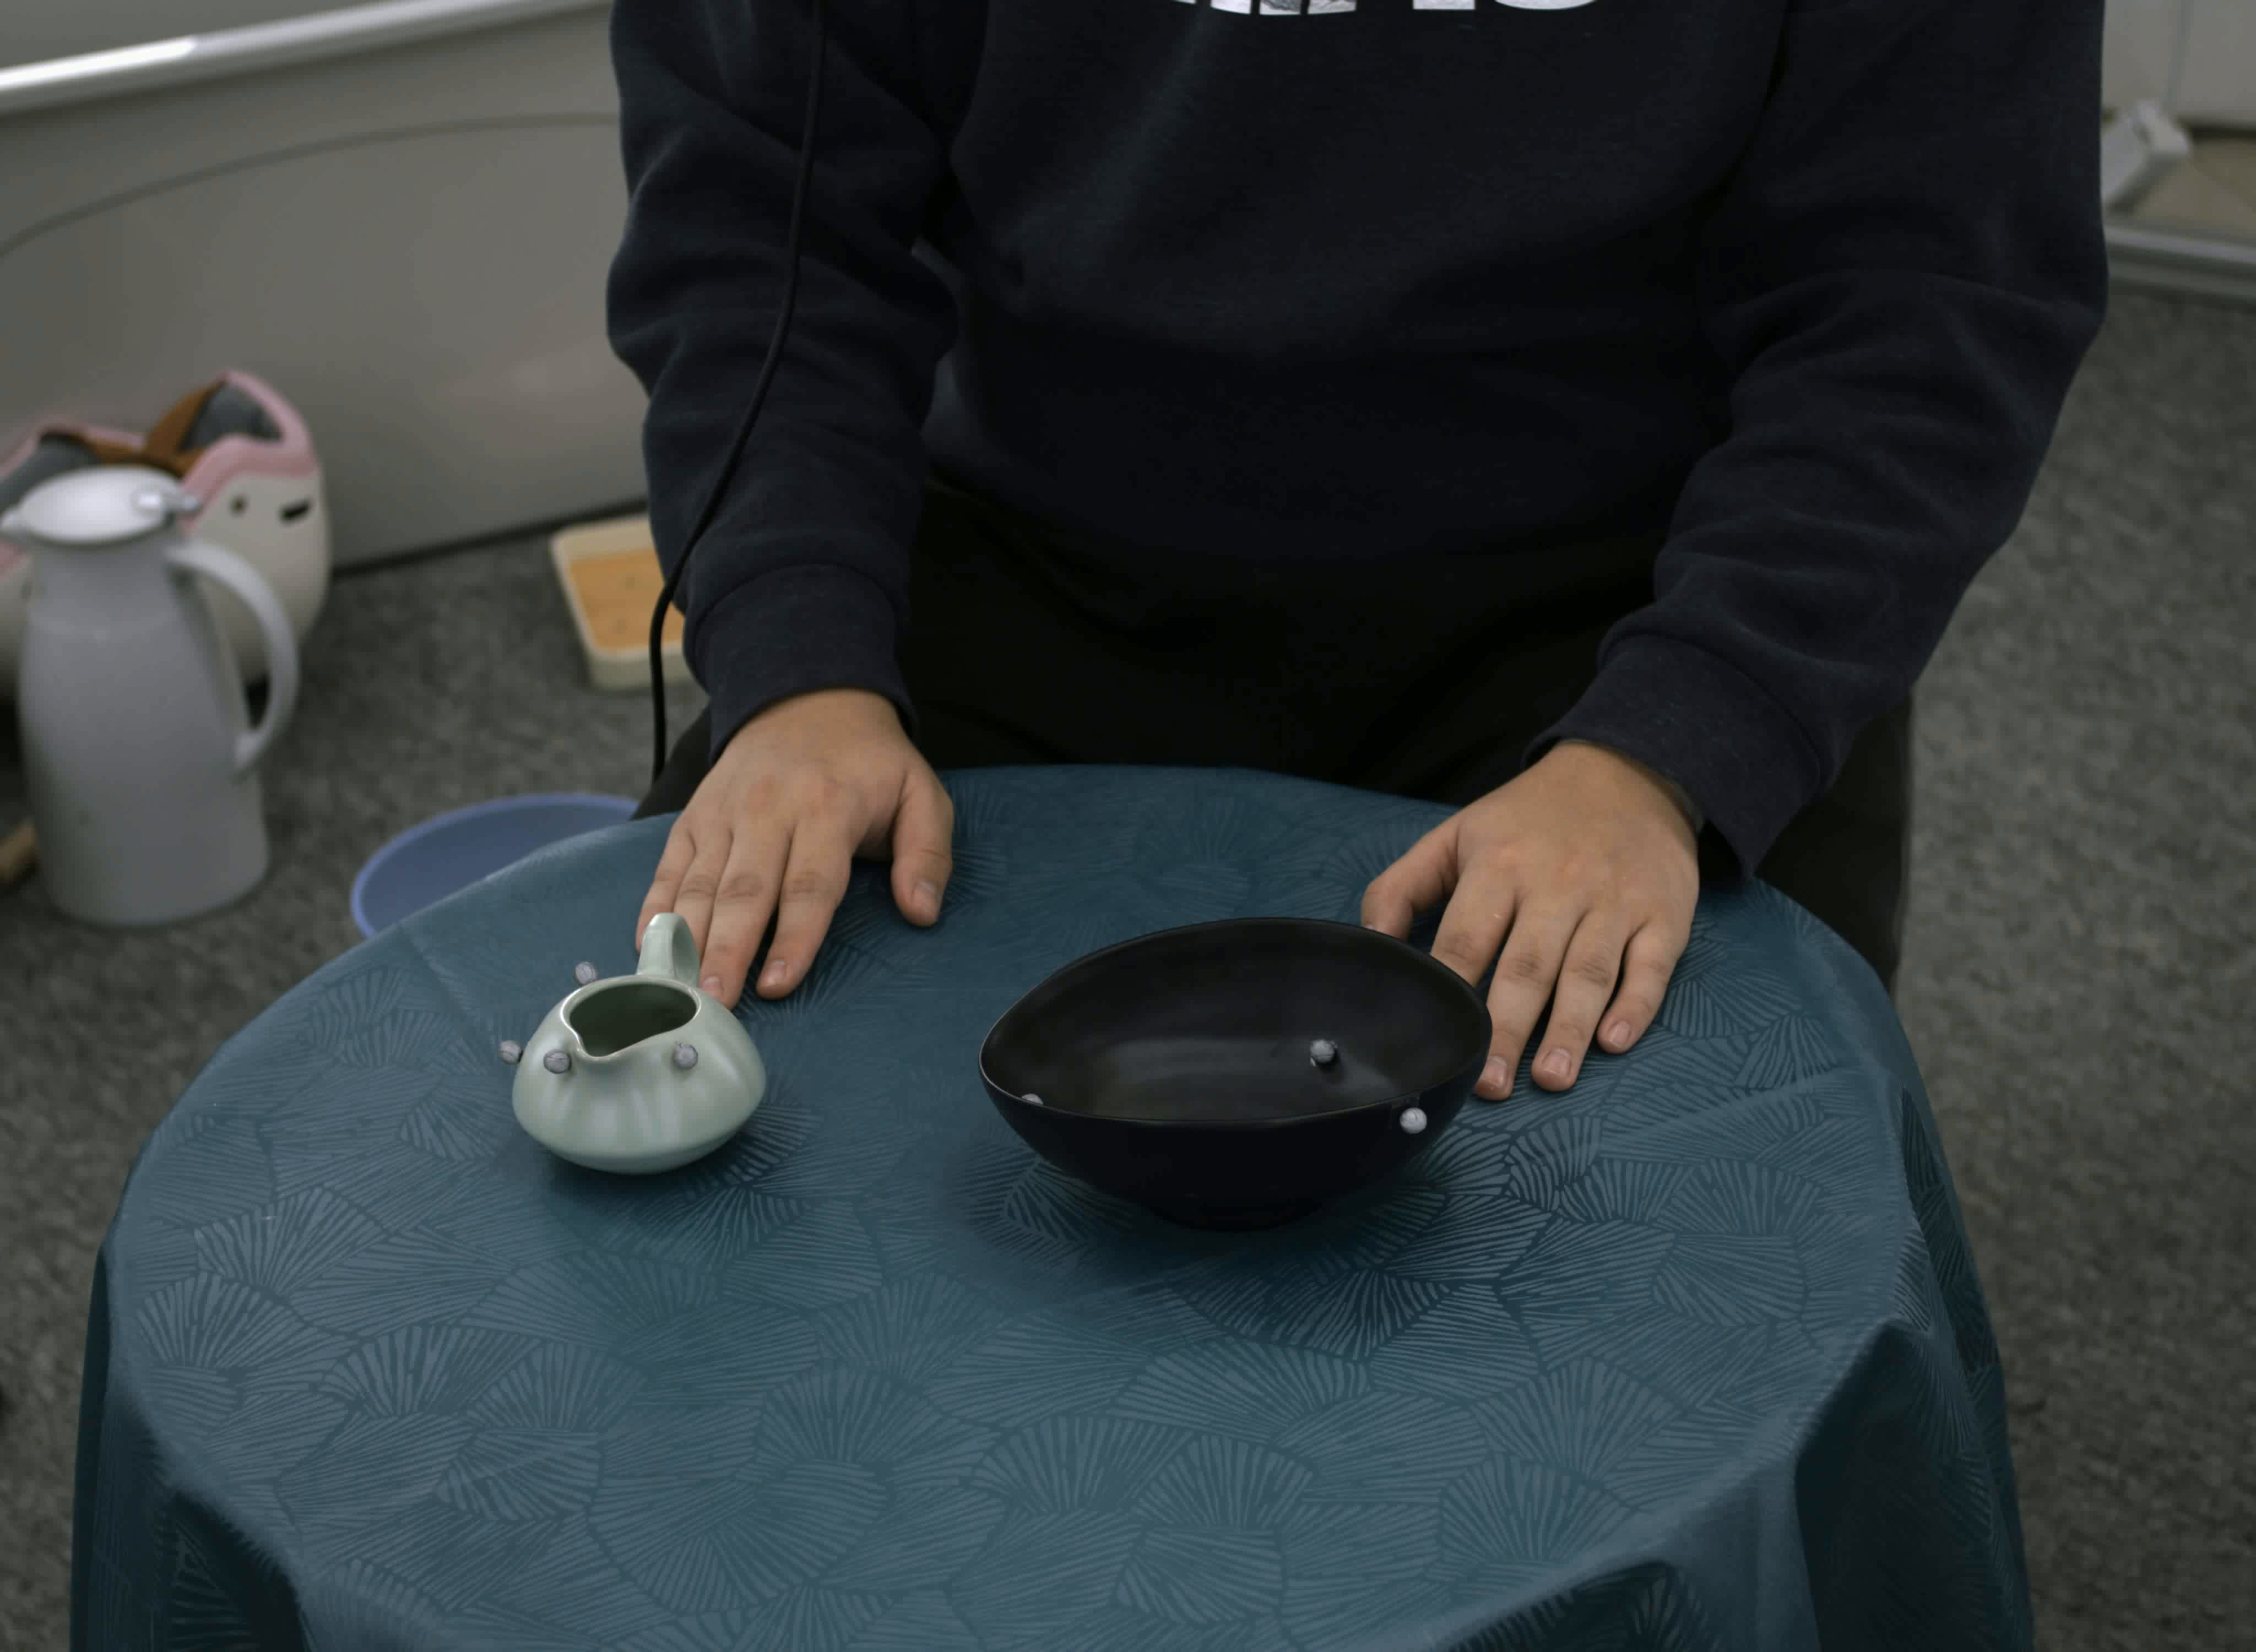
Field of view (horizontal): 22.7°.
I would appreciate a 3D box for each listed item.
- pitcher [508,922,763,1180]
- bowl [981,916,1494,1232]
[{"bbox_3d":[-0.165,0.078,1.905,0.085,0.060,0.109,3,25,8],"label":"pitcher"},{"bbox_3d":[0.037,0.091,1.854,0.169,0.066,0.139,-2,26,2],"label":"bowl"}]
